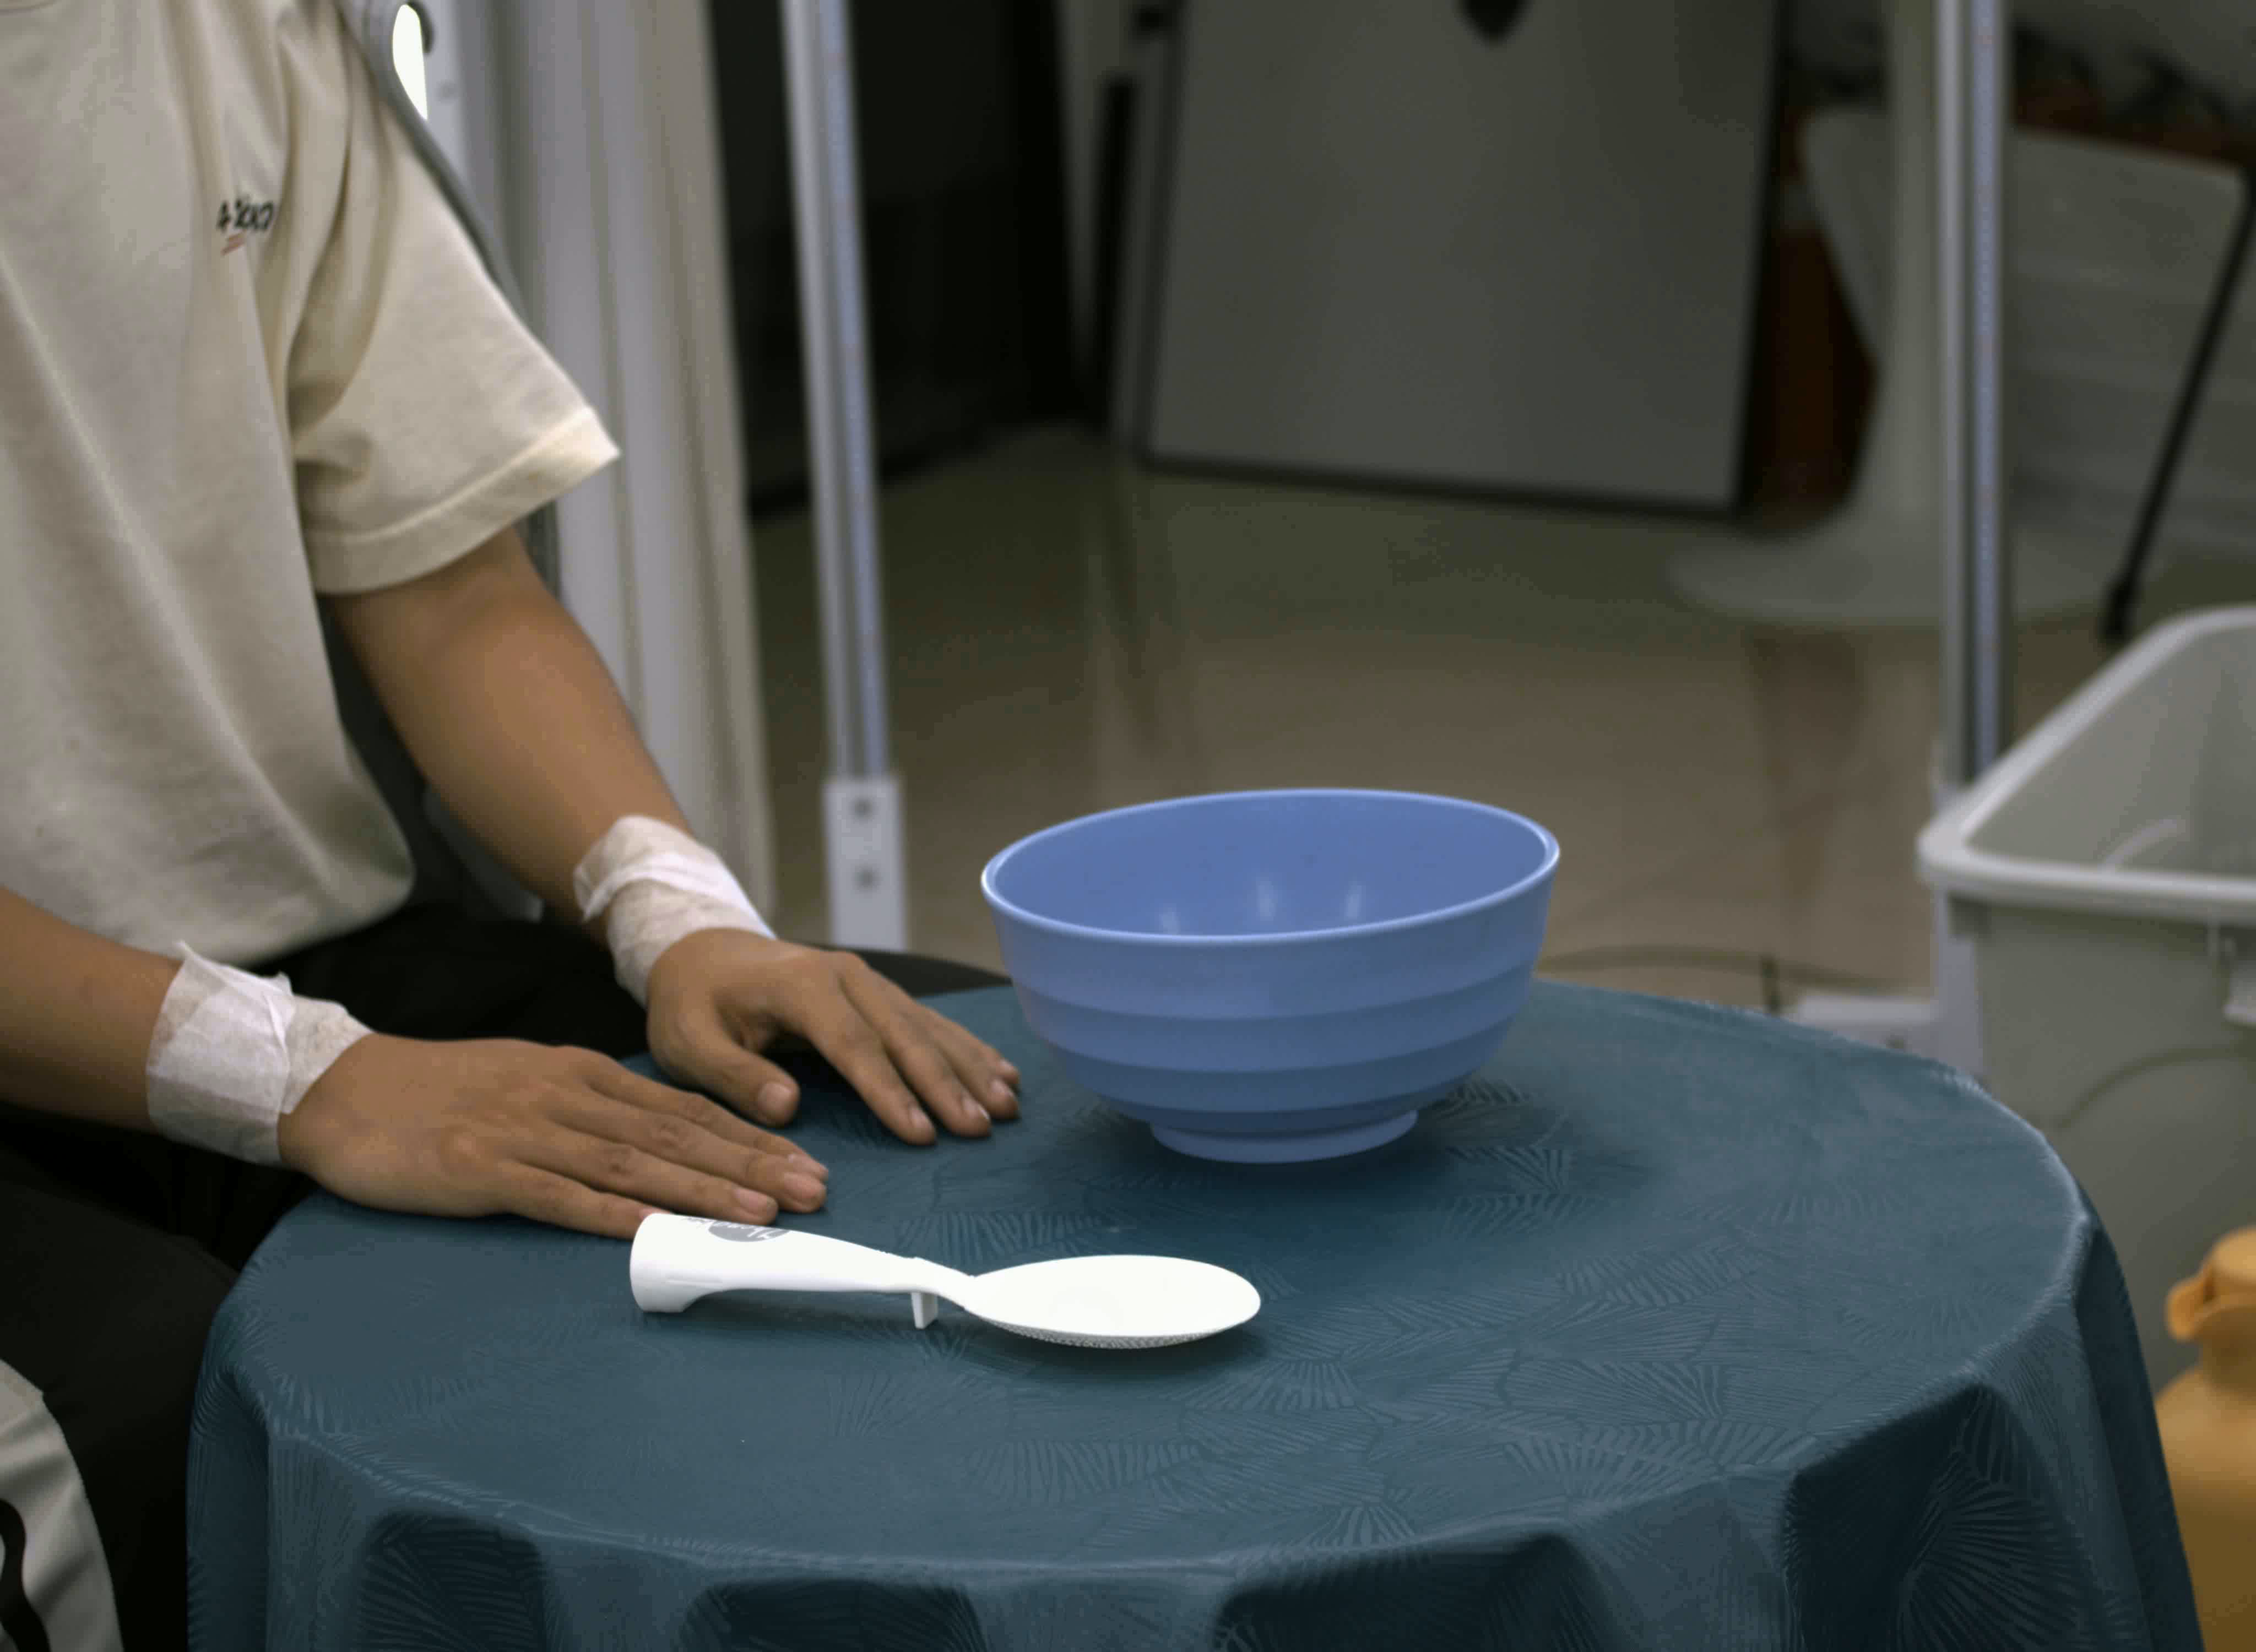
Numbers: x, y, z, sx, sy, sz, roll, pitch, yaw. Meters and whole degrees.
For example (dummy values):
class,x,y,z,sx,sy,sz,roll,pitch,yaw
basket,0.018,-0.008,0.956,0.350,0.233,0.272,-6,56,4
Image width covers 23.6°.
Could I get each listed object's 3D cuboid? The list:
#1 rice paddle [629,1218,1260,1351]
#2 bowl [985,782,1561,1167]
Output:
class,x,y,z,sx,sy,sz,roll,pitch,yaw
rice paddle,-0.056,0.140,1.652,0.205,0.030,0.068,2,16,23
bowl,0.051,0.056,1.824,0.194,0.096,0.197,-3,15,0
